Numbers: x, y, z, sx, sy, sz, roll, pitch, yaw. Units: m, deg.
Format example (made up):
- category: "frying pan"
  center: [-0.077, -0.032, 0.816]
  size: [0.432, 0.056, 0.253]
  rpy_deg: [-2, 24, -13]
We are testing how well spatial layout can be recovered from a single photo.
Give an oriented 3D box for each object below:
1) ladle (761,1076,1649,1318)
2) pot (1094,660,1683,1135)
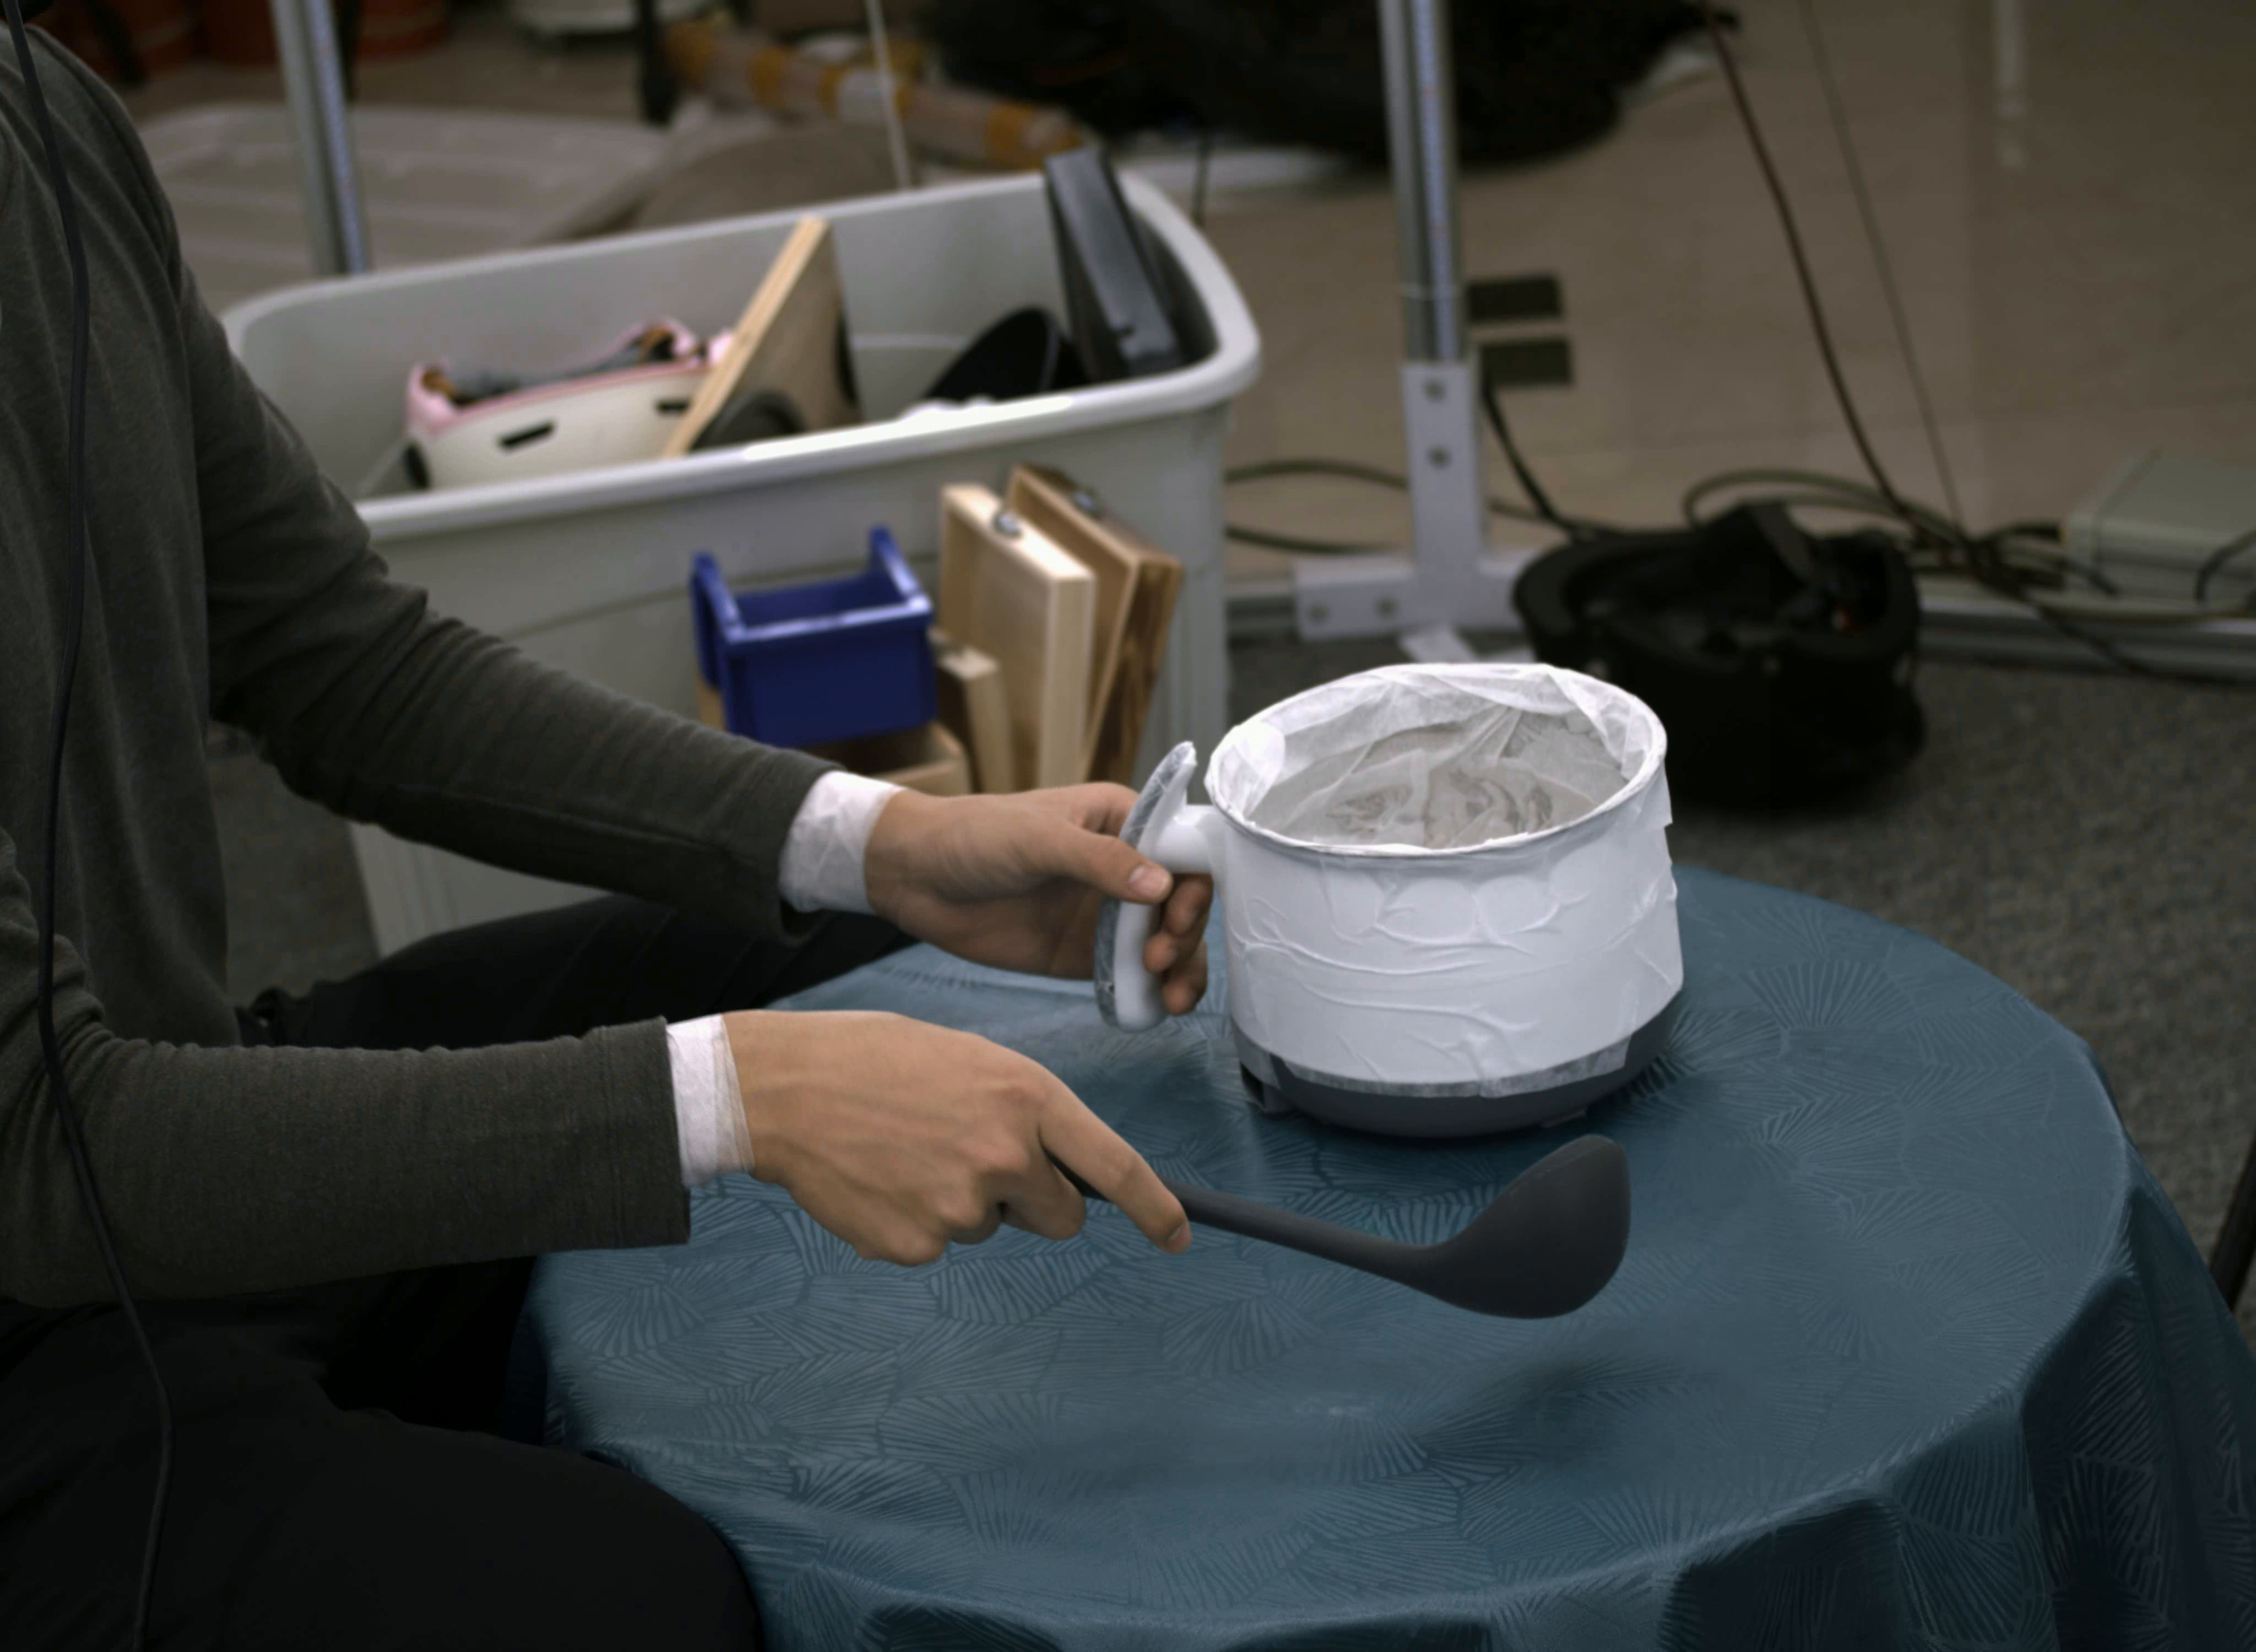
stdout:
- category: "ladle"
  center: [0.027, 0.112, 1.988]
  size: [0.313, 0.088, 0.063]
  rpy_deg: [13, 52, 10]
- category: "pot"
  center: [0.097, 0.029, 2.197]
  size: [0.233, 0.139, 0.176]
  rpy_deg: [0, 26, 13]
